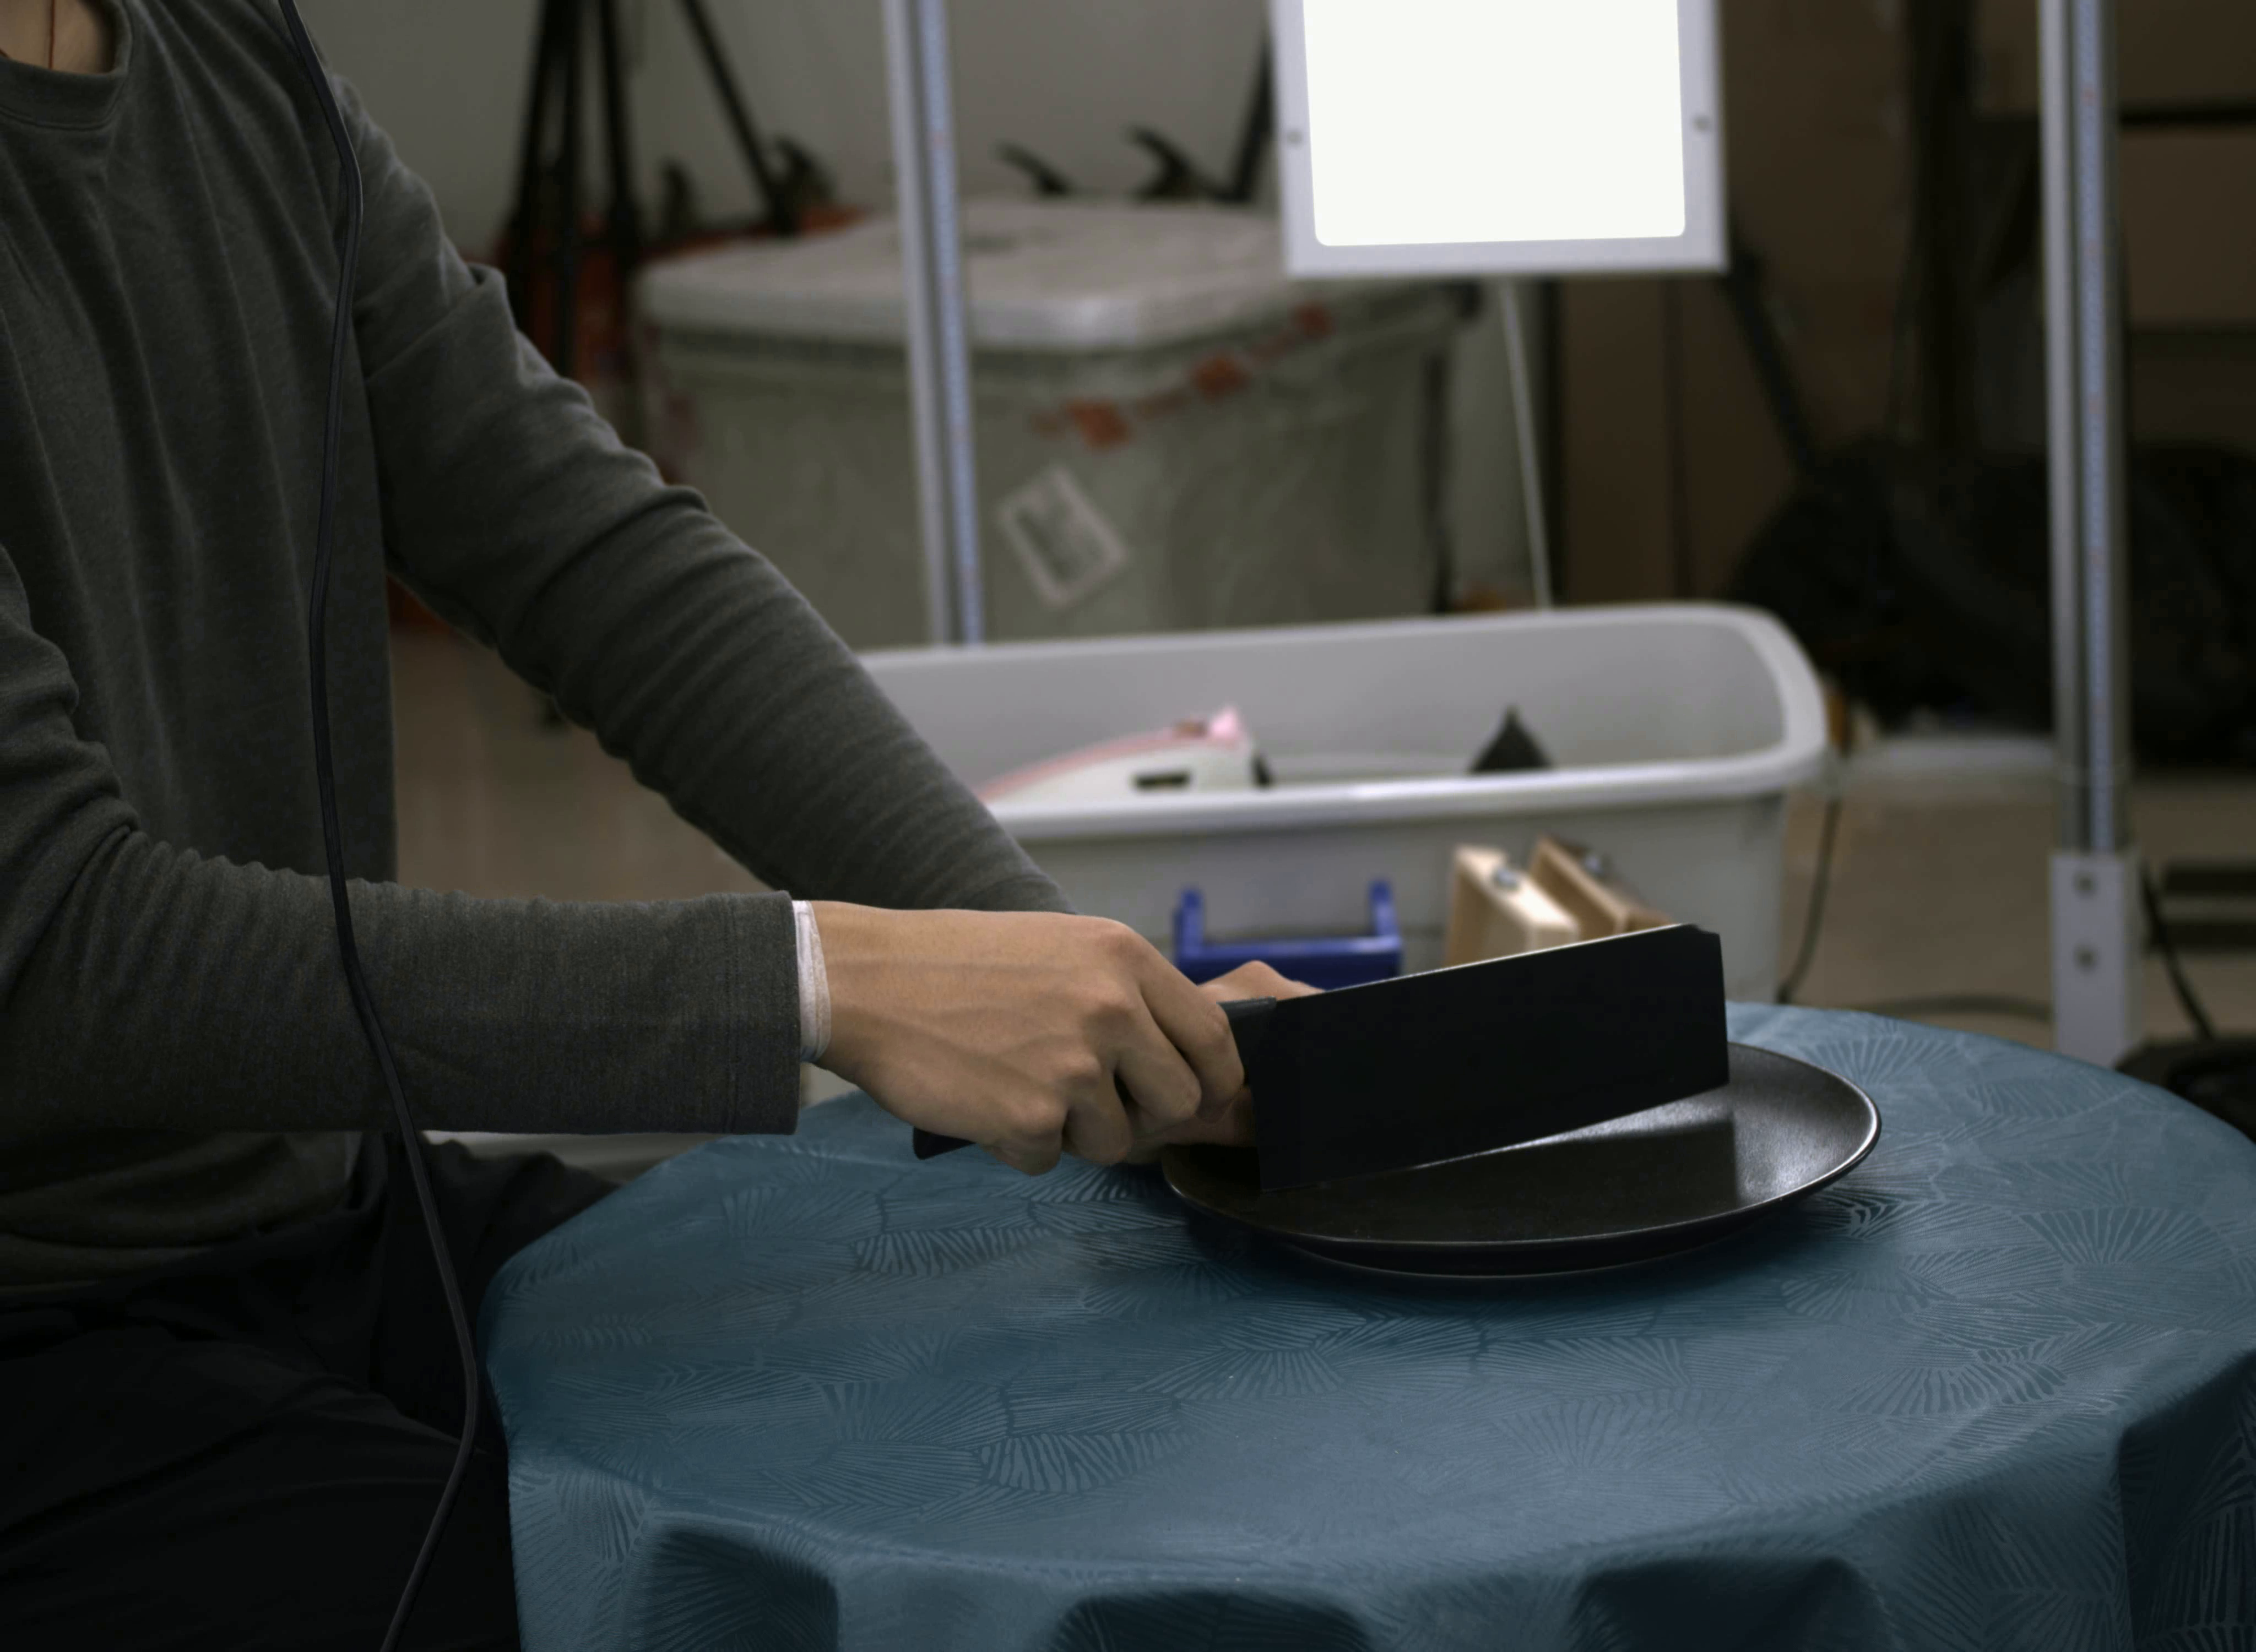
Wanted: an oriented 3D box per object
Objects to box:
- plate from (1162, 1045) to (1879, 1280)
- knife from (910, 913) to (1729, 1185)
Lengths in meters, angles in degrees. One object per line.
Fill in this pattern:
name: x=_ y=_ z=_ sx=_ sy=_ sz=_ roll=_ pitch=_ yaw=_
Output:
plate: x=0.133 y=0.114 z=1.859 sx=0.244 sy=0.023 sz=0.244 roll=-5 pitch=13 yaw=0
knife: x=0.069 y=0.082 z=1.857 sx=0.297 sy=0.081 sz=0.021 roll=-6 pitch=11 yaw=-19
